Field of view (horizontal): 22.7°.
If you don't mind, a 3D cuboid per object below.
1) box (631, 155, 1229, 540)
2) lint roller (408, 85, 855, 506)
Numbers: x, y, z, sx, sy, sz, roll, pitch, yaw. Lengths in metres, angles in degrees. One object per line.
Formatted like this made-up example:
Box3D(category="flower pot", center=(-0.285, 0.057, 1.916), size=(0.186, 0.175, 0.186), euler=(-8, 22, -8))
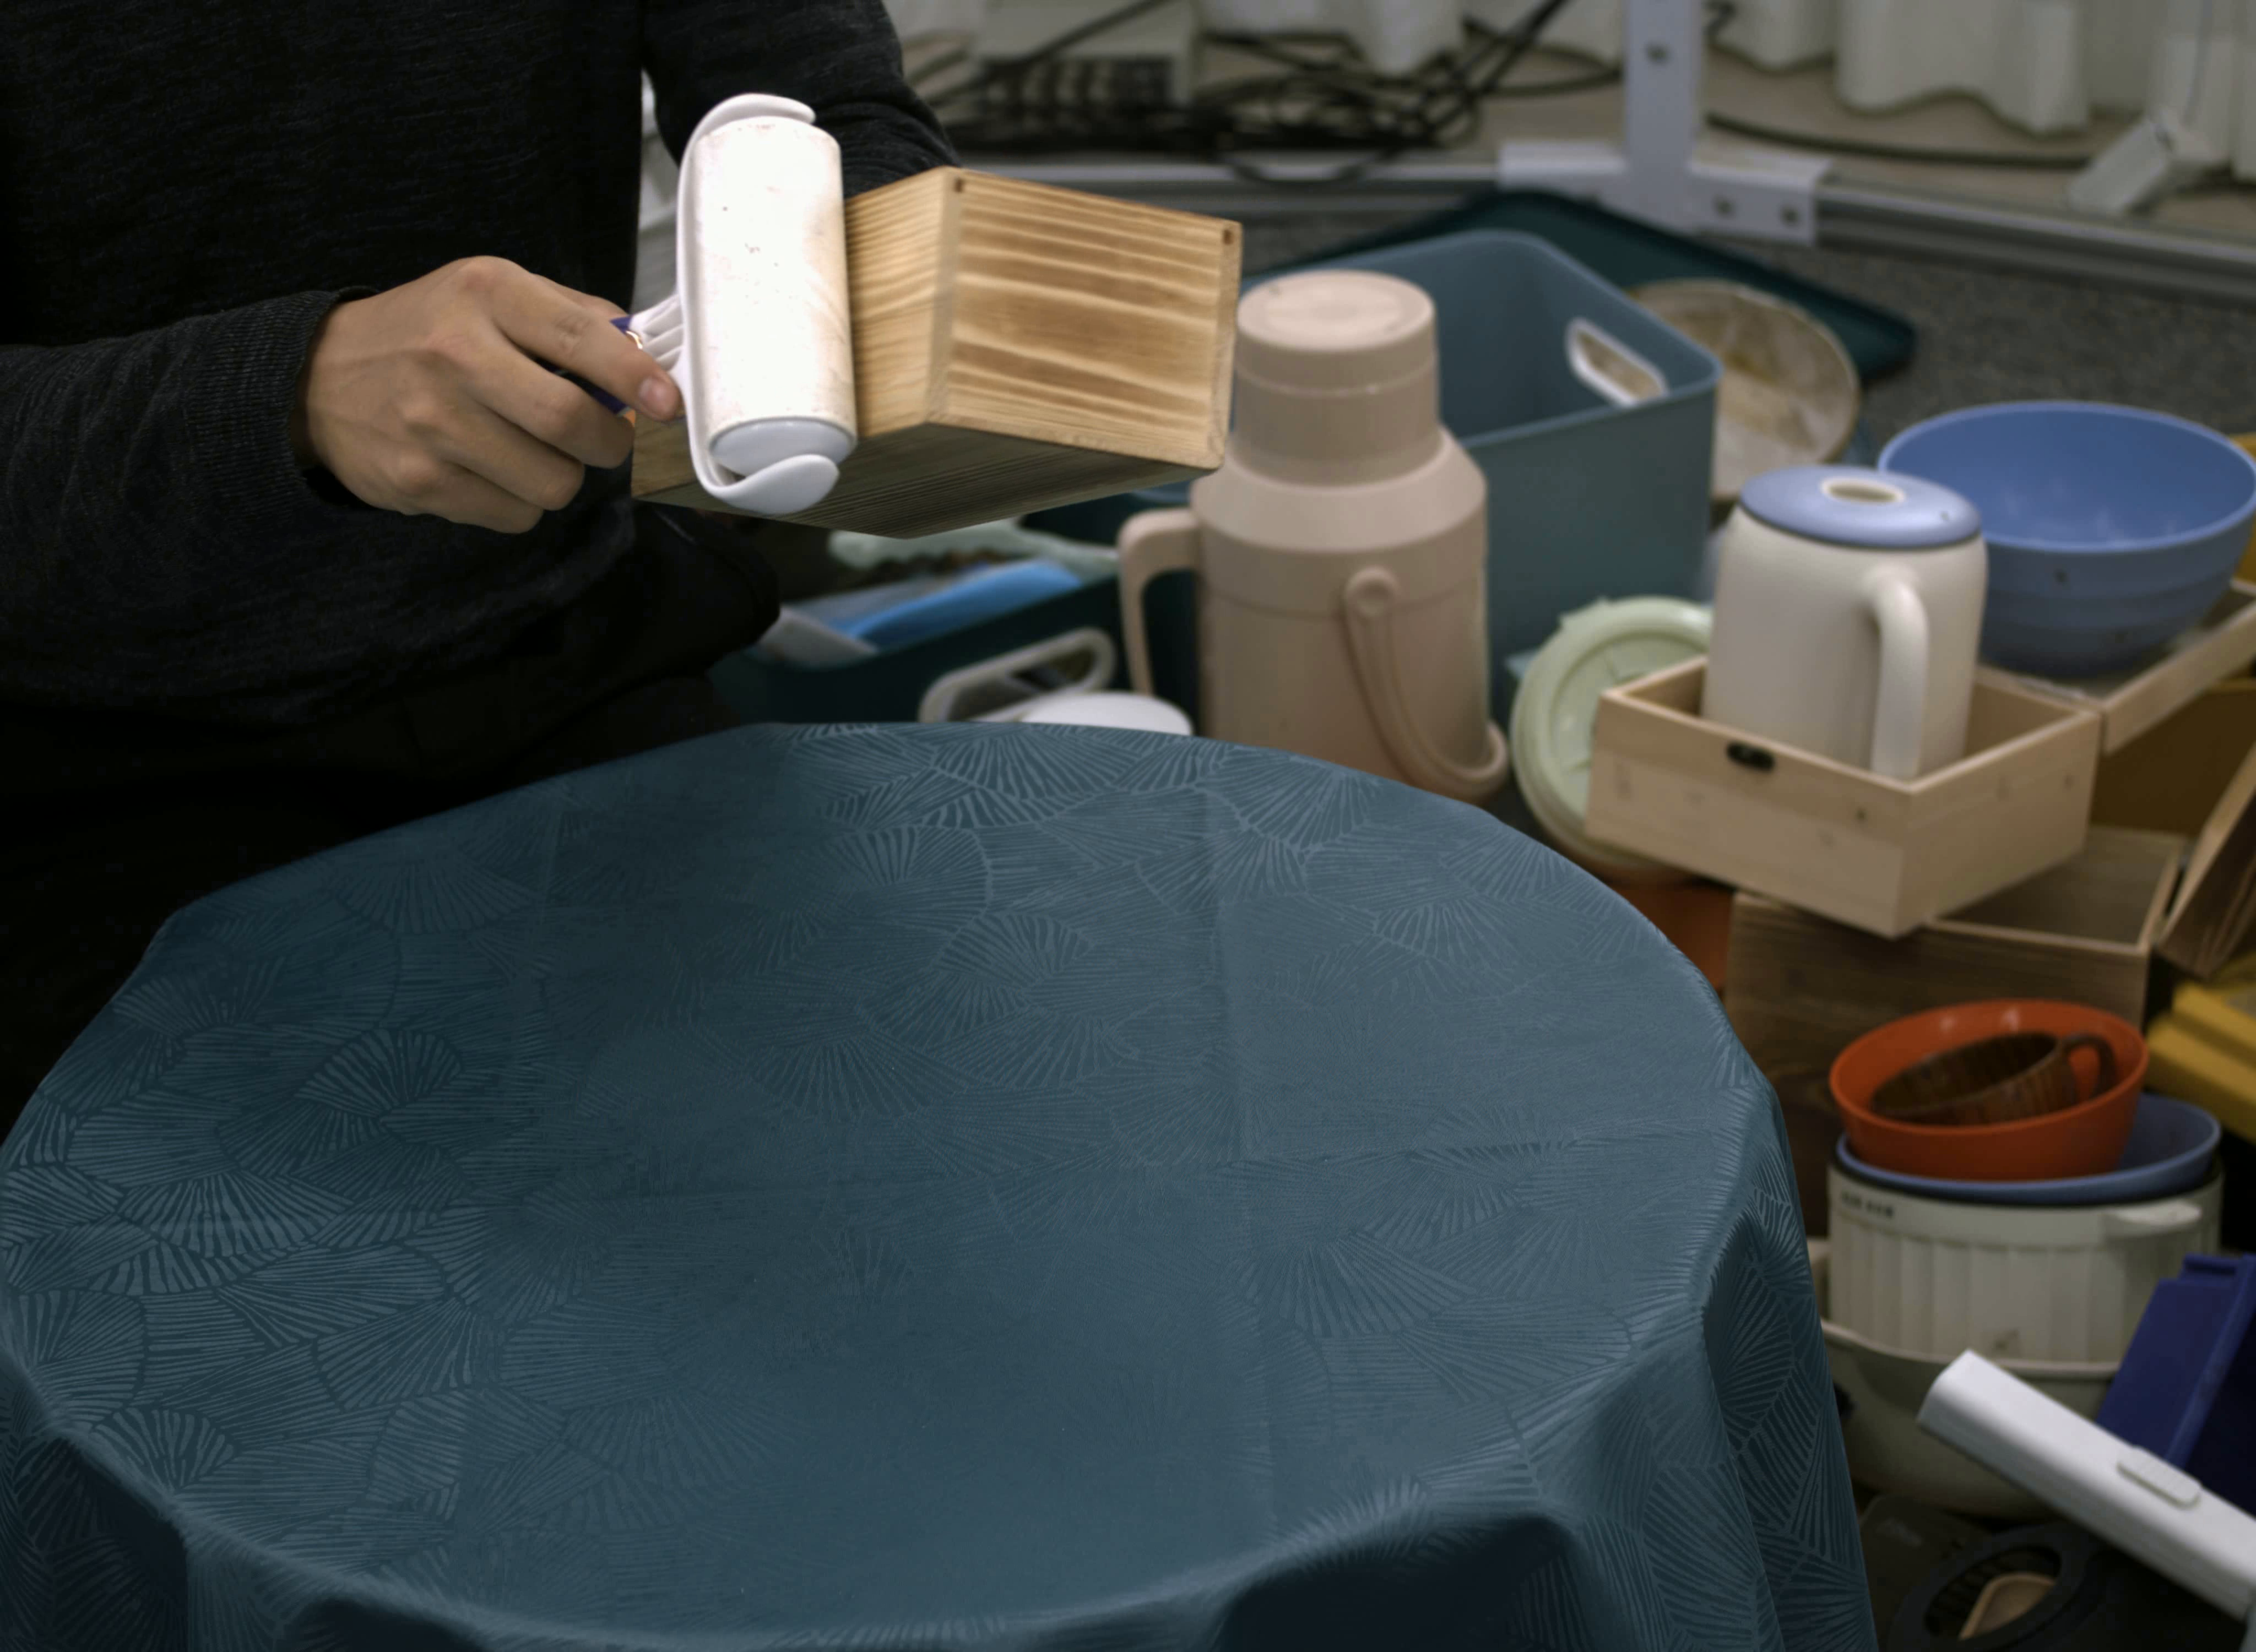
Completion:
Box3D(category="box", center=(-0.067, -0.149, 1.807), size=(0.107, 0.081, 0.209), euler=(7, -8, -29))
Box3D(category="lint roller", center=(-0.165, -0.150, 1.767), size=(0.178, 0.135, 0.050), euler=(-14, -21, 28))
